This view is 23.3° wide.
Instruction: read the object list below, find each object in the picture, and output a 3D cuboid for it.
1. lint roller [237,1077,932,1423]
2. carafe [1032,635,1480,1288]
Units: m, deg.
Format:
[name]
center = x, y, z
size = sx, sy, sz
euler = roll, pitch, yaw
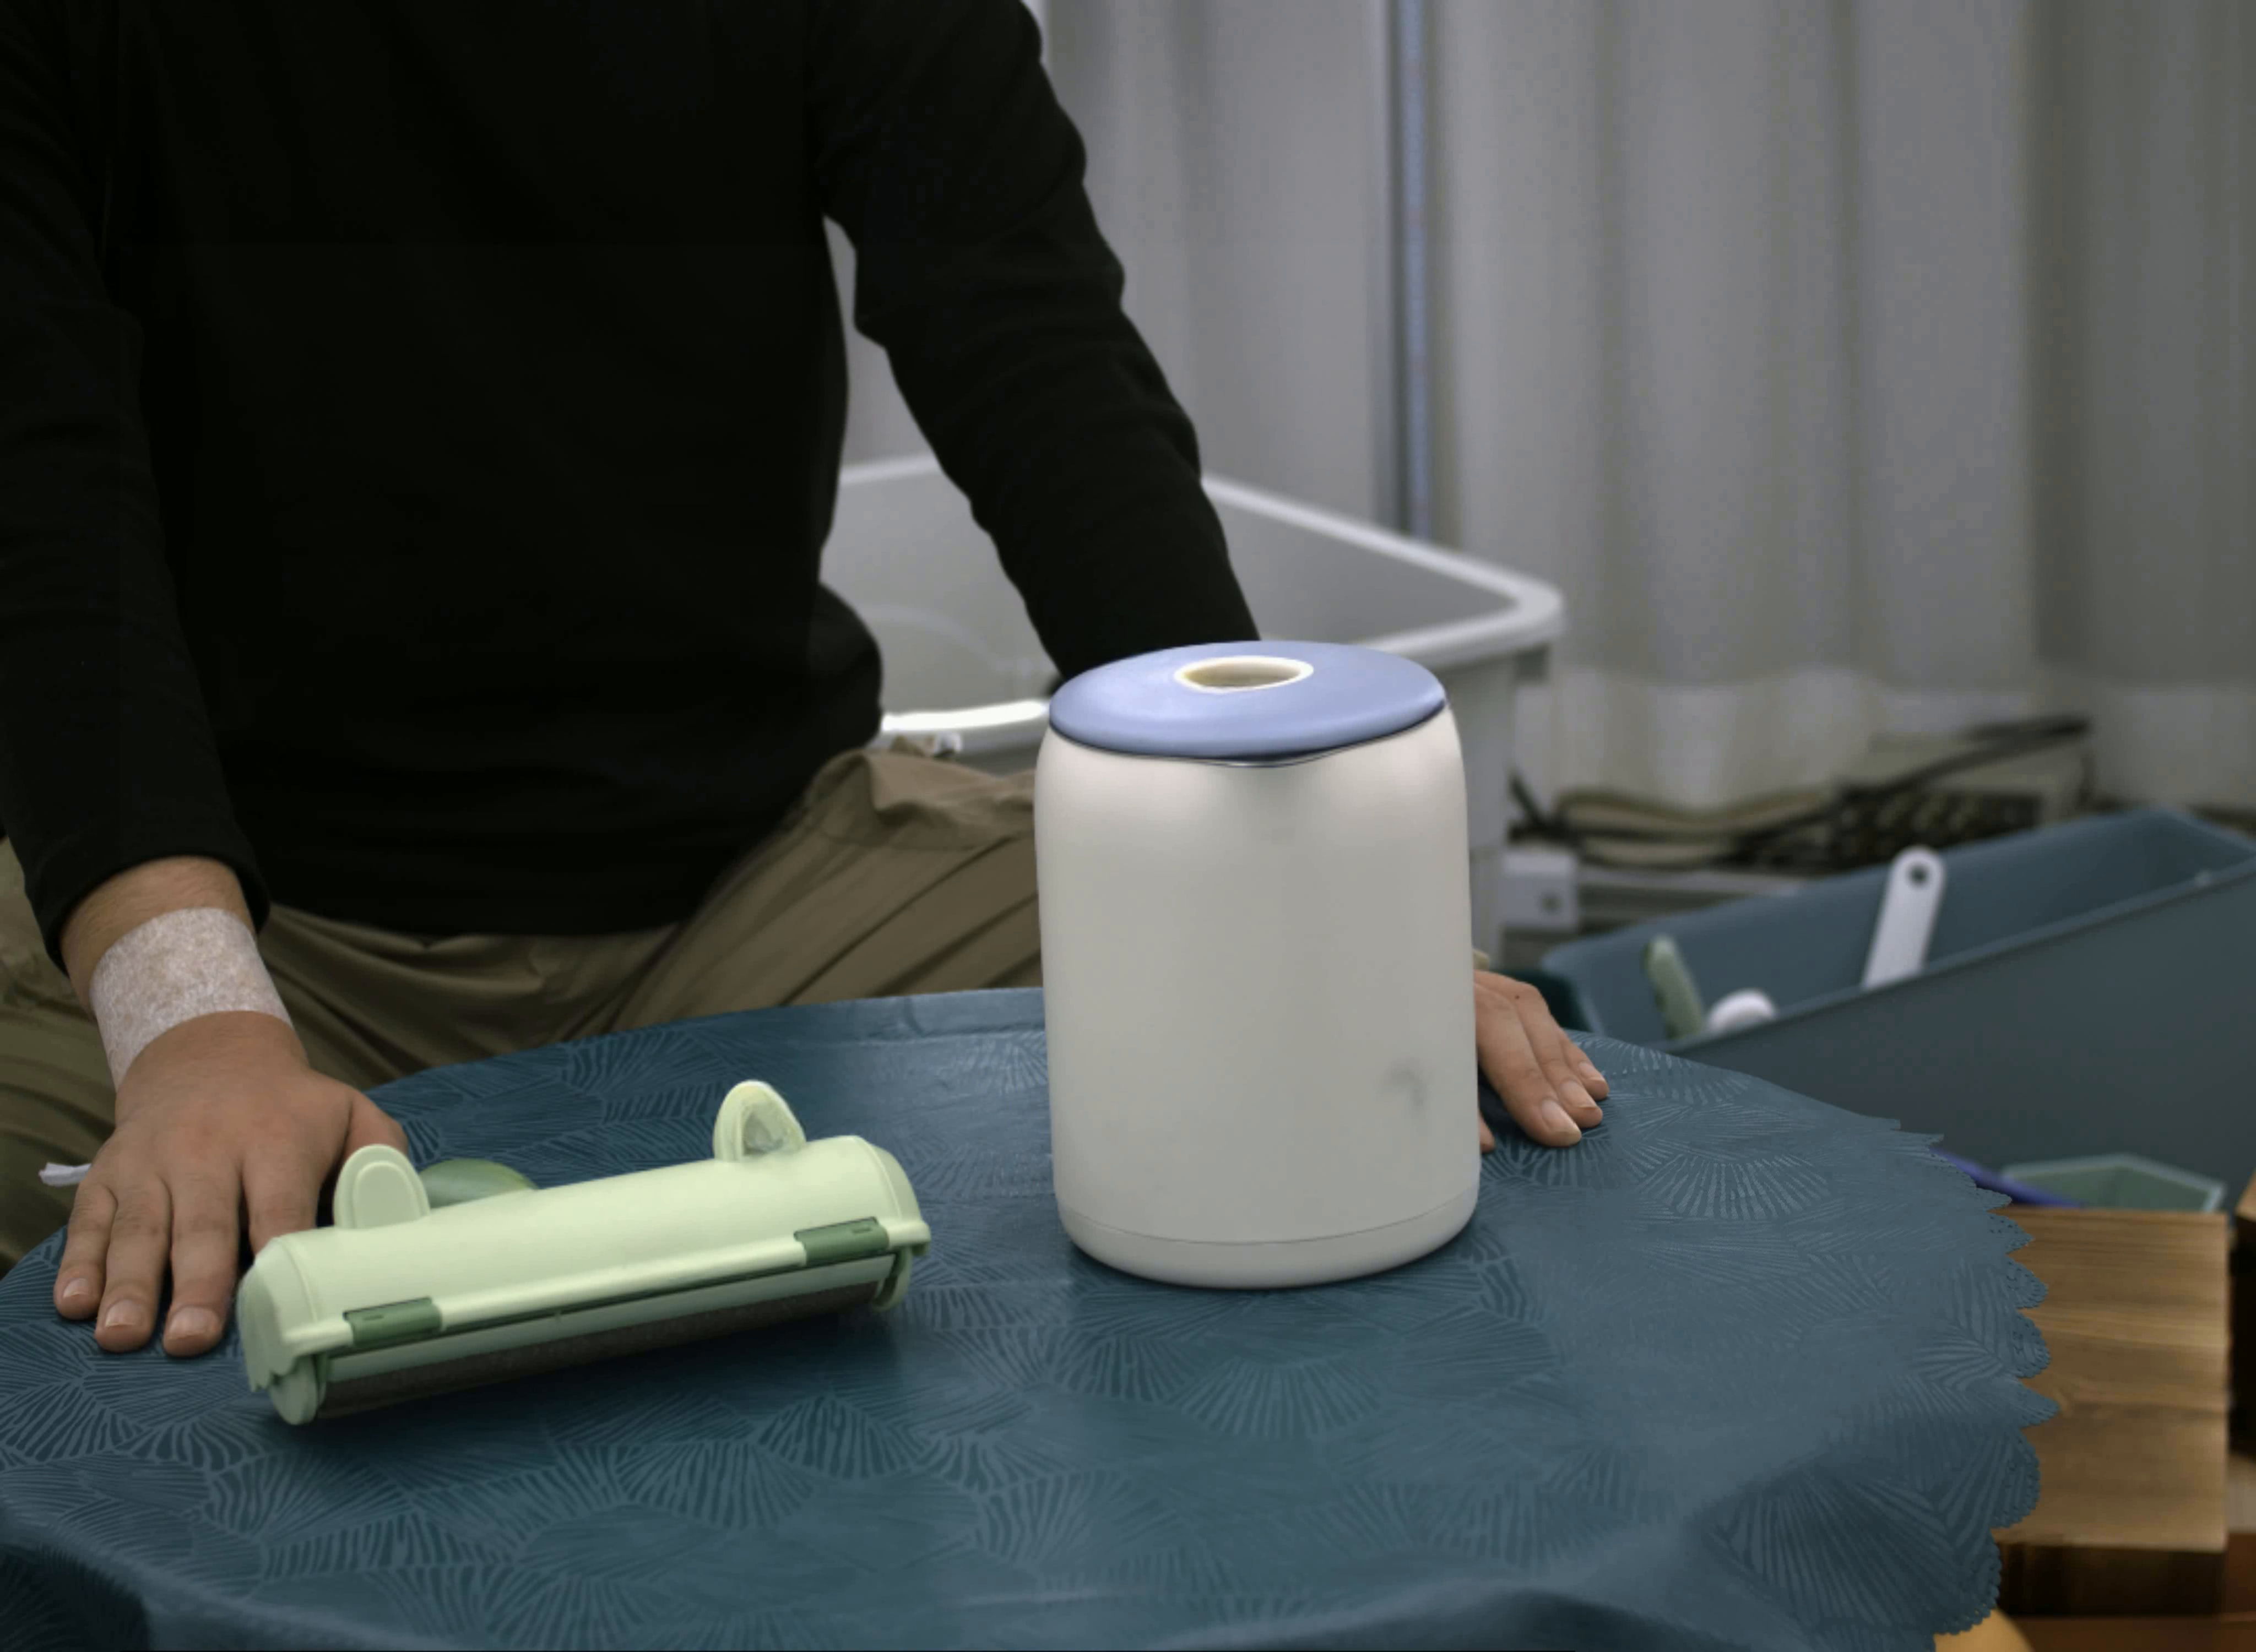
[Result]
[lint roller]
center = -0.180, 0.109, 1.621
size = 0.198, 0.082, 0.185
euler = -8, 18, -24
[carafe]
center = 0.036, 0.034, 1.678
size = 0.131, 0.182, 0.192
euler = -4, 12, -7
